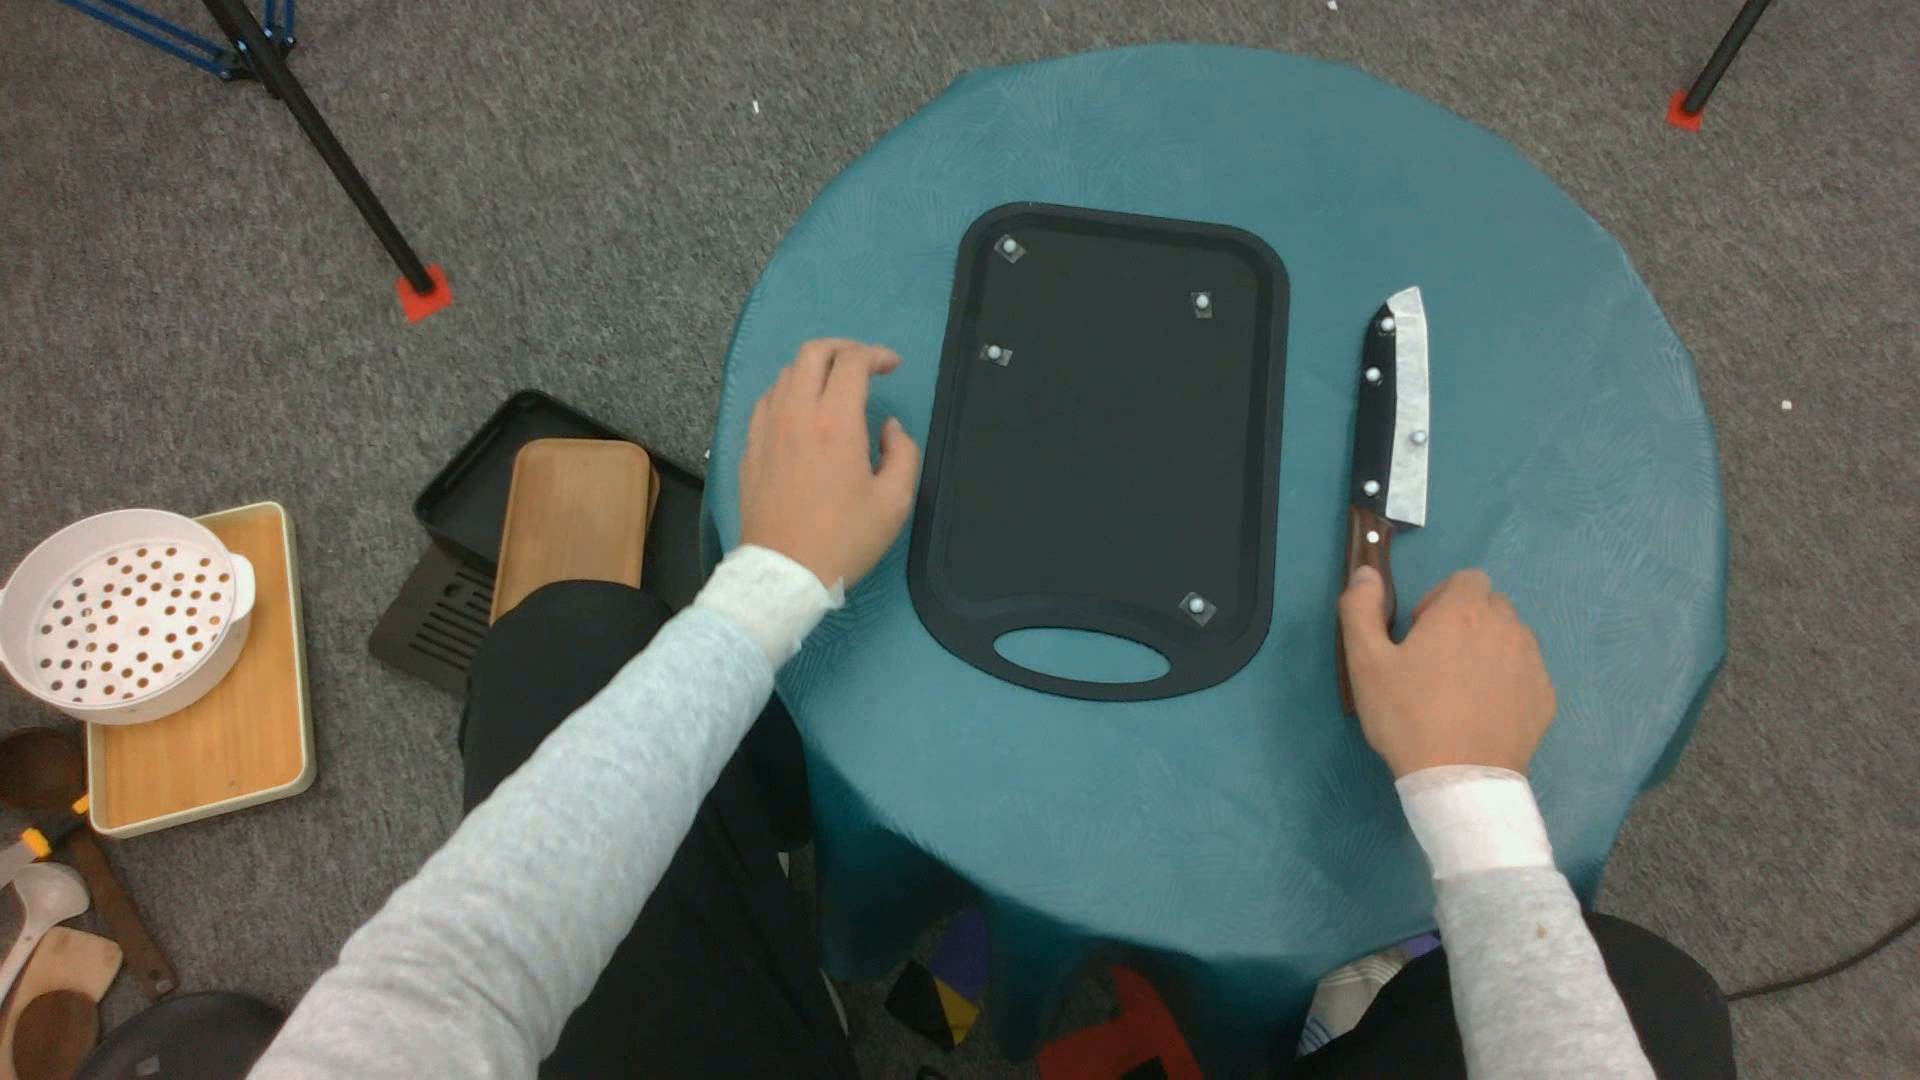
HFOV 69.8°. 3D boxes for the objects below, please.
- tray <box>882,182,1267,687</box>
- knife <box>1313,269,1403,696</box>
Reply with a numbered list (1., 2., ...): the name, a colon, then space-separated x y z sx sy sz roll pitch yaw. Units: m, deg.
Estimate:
1. tray: 0.073 -0.071 0.818 0.211 0.010 0.326 8 68 1
2. knife: 0.235 -0.043 0.808 0.050 0.020 0.290 14 66 -2
